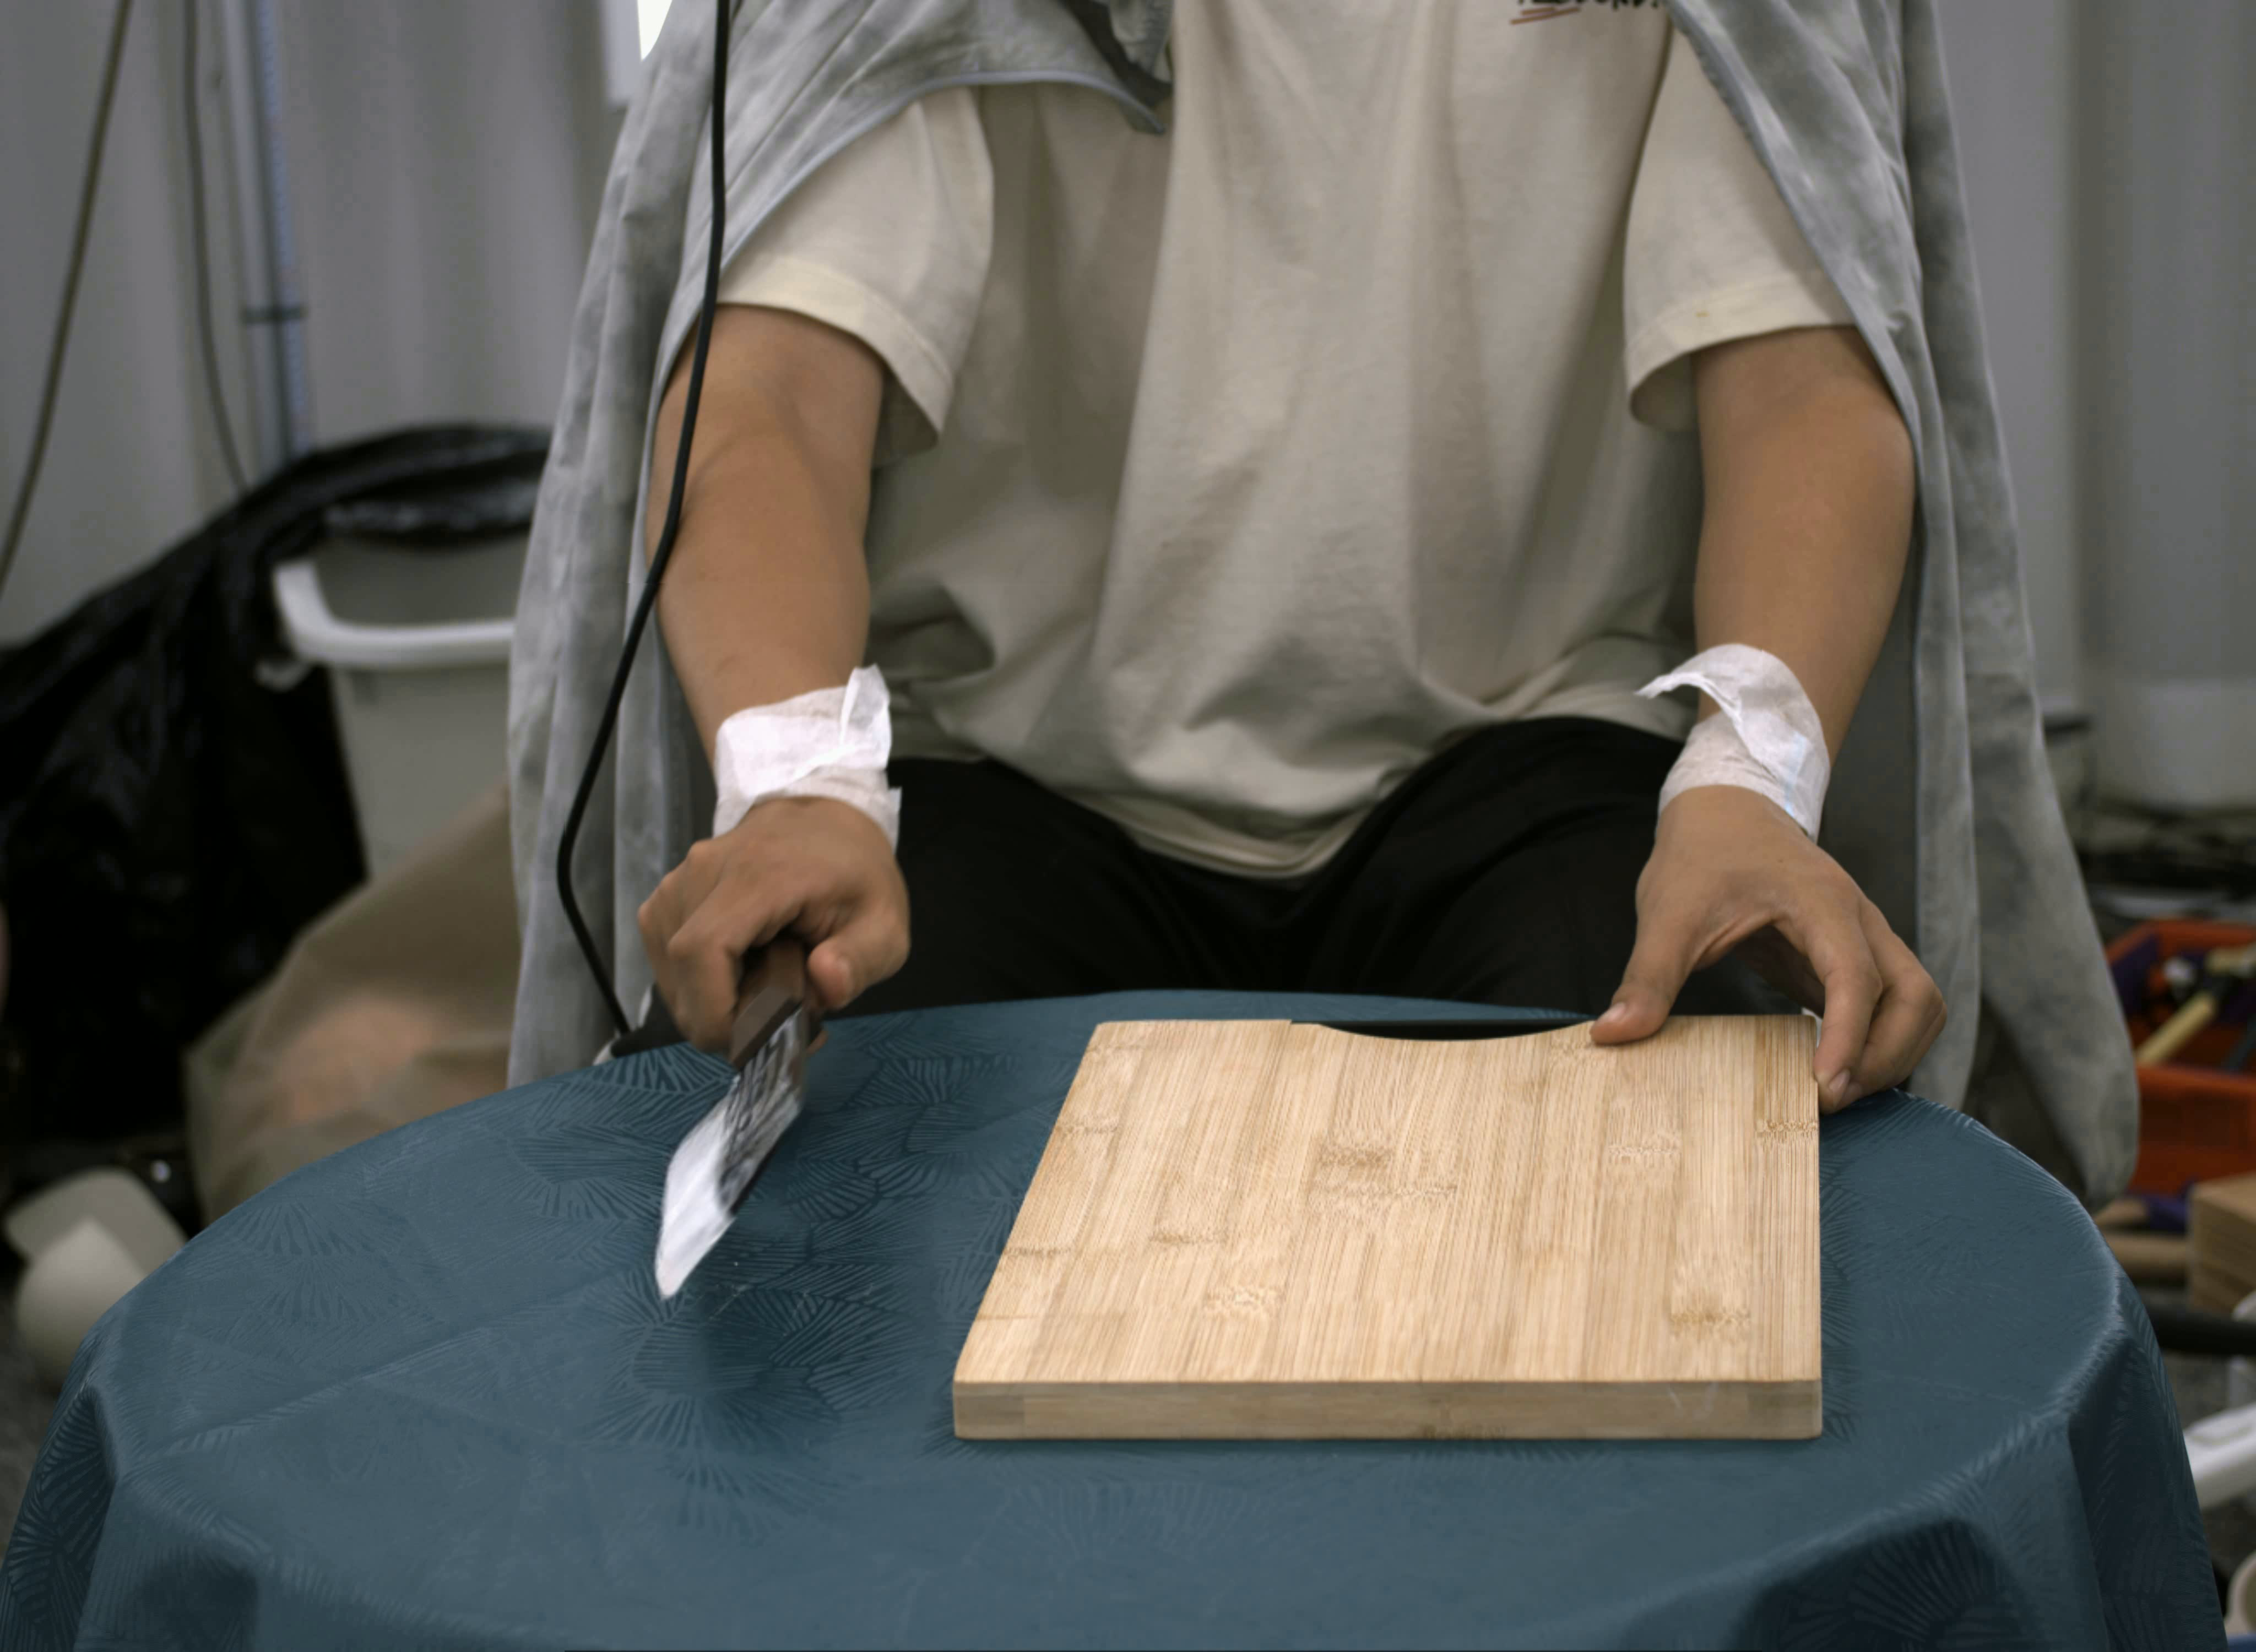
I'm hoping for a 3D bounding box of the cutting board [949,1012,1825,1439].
[{"bbox_3d":[0.090,0.116,1.666,0.250,0.023,0.350,-1,15,6],"label":"cutting board"}]

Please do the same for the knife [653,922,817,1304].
[{"bbox_3d":[-0.122,0.086,1.680,0.024,0.068,0.301,40,8,-10],"label":"knife"}]
